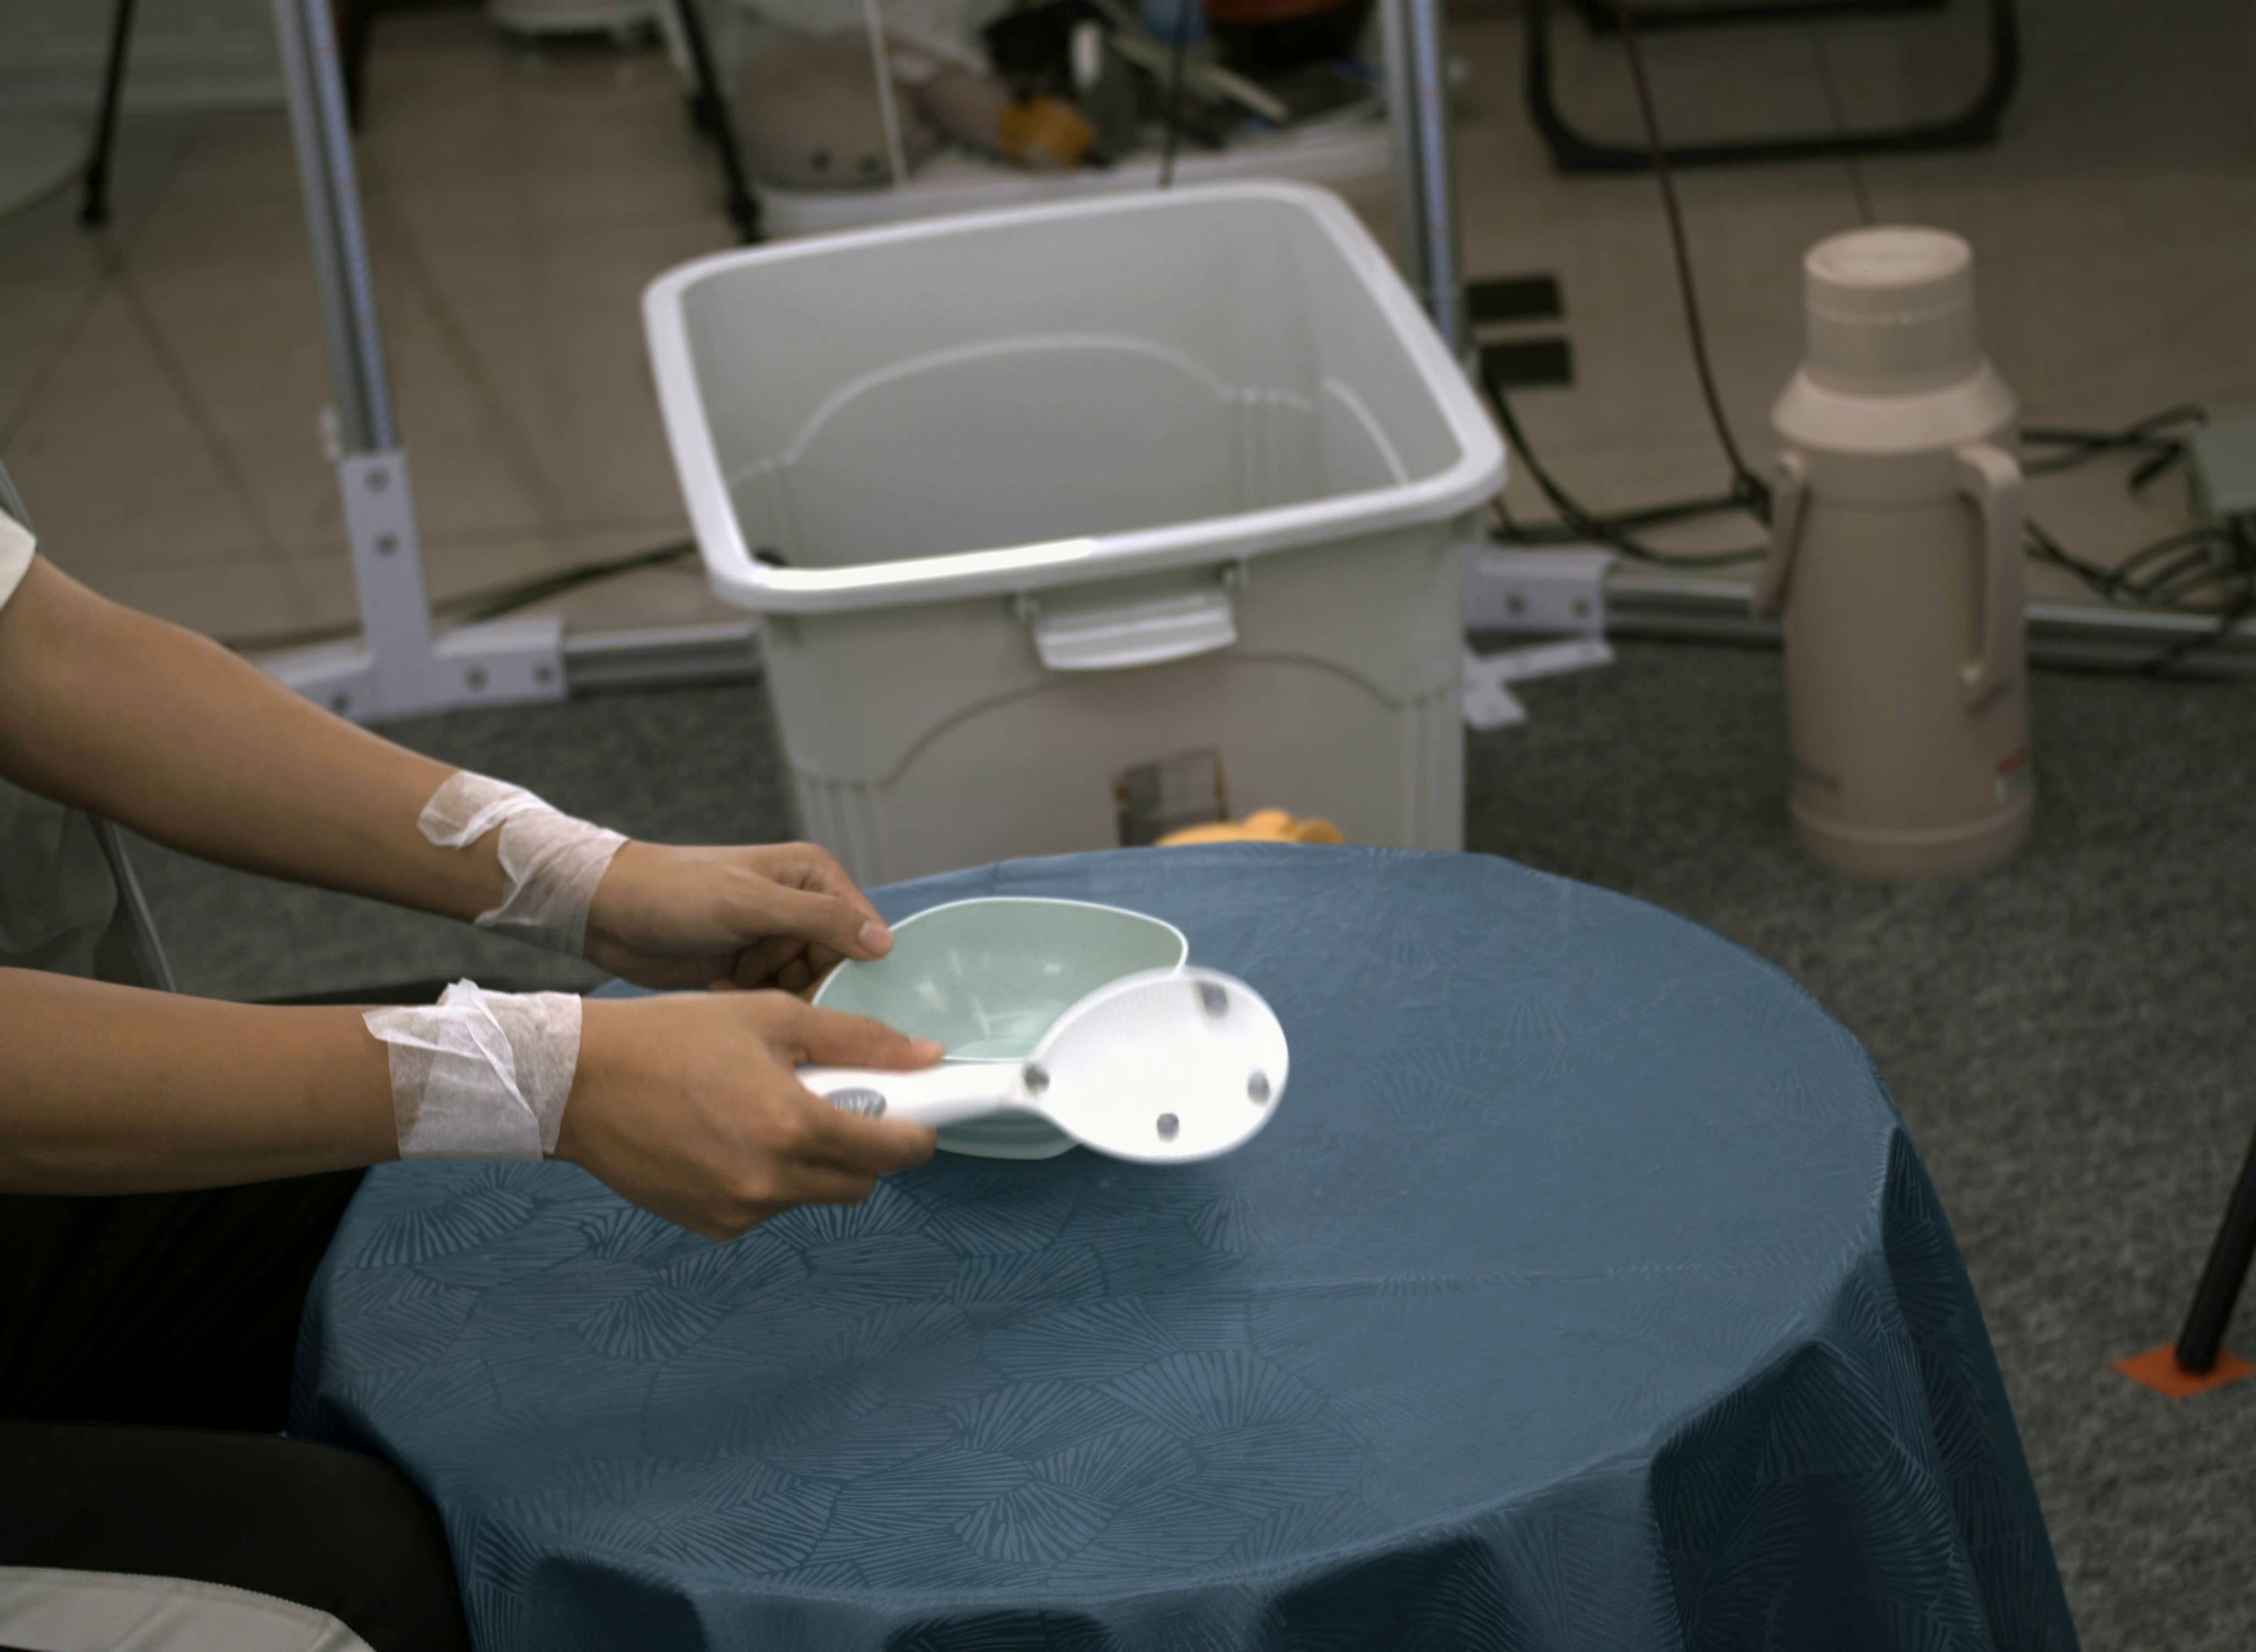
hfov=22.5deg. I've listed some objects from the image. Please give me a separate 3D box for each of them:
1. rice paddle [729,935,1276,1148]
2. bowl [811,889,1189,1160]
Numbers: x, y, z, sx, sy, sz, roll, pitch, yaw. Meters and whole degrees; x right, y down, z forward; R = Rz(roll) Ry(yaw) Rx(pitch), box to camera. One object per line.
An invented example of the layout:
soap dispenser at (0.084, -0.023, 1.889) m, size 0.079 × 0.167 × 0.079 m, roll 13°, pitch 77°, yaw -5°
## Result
rice paddle at (-0.042, 0.084, 2.060) m, size 0.205 × 0.069 × 0.029 m, roll -9°, pitch 3°, yaw -15°
bowl at (-0.048, 0.083, 2.213) m, size 0.151 × 0.059 × 0.149 m, roll -3°, pitch 27°, yaw 2°
